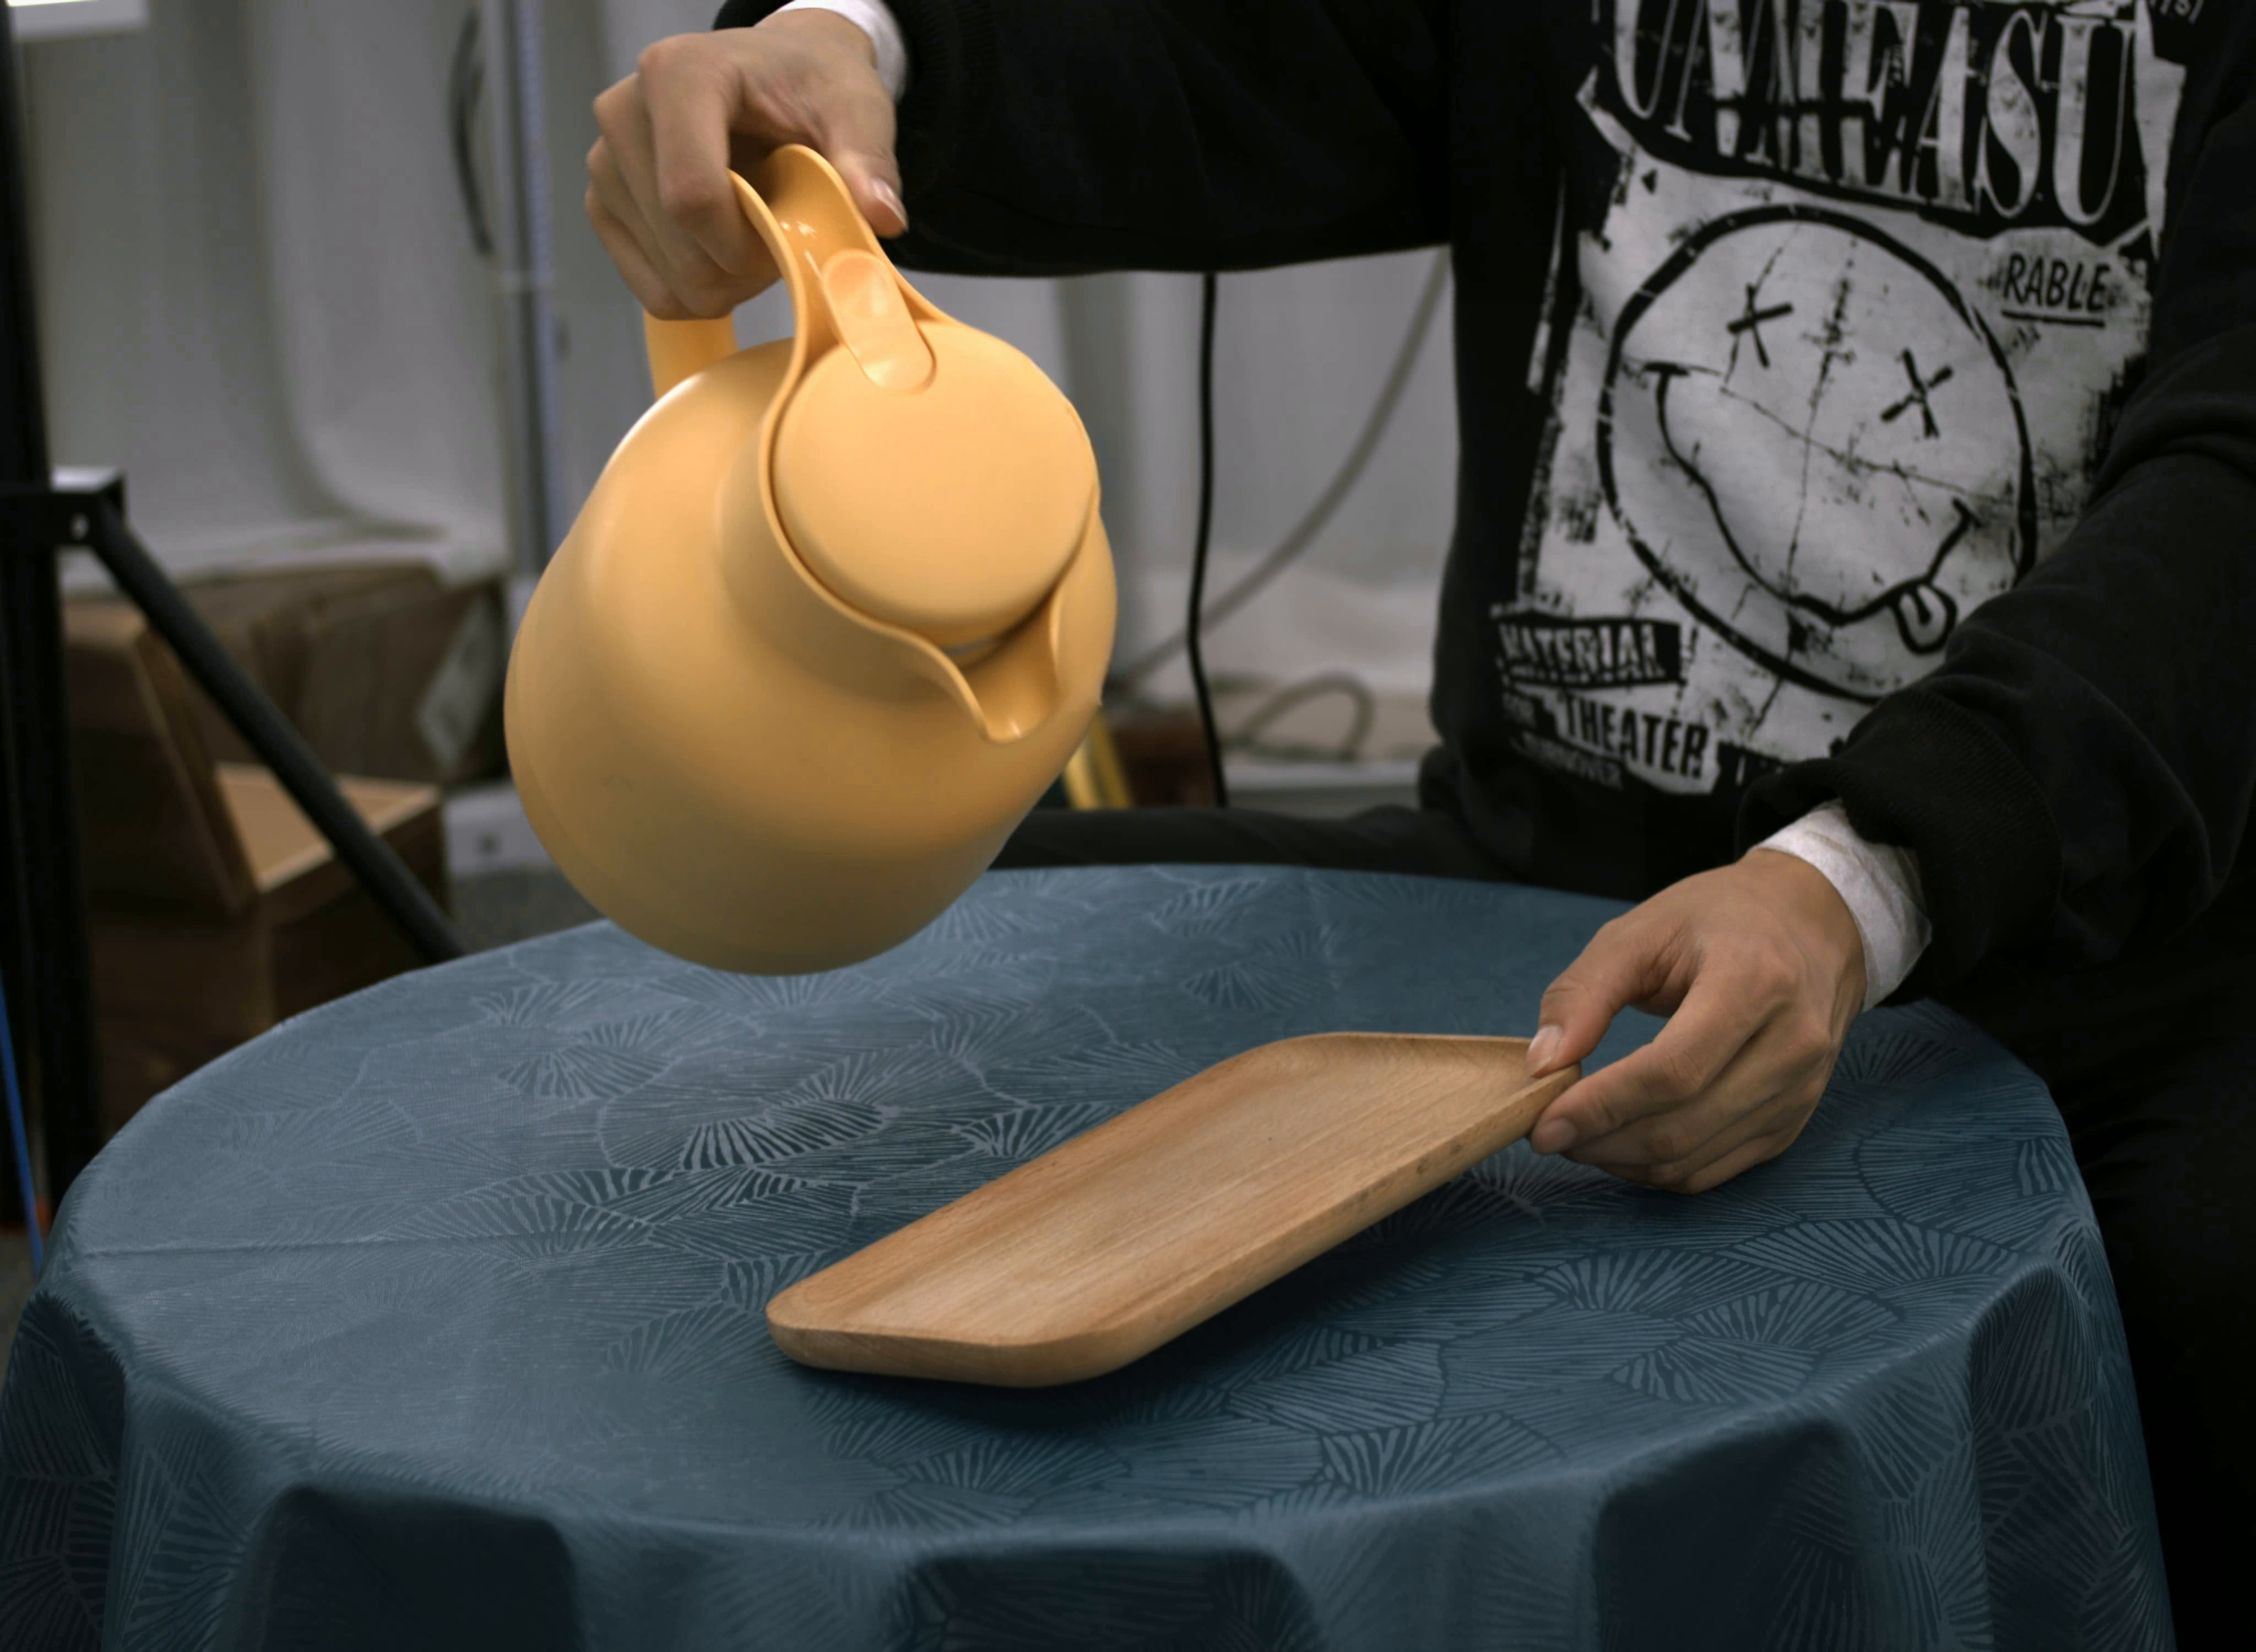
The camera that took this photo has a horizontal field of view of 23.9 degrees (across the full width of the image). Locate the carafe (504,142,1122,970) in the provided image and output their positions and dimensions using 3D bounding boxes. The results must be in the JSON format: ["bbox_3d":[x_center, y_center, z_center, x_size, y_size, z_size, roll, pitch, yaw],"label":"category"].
[{"bbox_3d":[-0.090,-0.080,1.564,0.160,0.204,0.262,-16,-11,-22],"label":"carafe"}]

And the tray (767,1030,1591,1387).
[{"bbox_3d":[0.019,0.104,1.482,0.133,0.023,0.245,4,19,42],"label":"tray"}]
